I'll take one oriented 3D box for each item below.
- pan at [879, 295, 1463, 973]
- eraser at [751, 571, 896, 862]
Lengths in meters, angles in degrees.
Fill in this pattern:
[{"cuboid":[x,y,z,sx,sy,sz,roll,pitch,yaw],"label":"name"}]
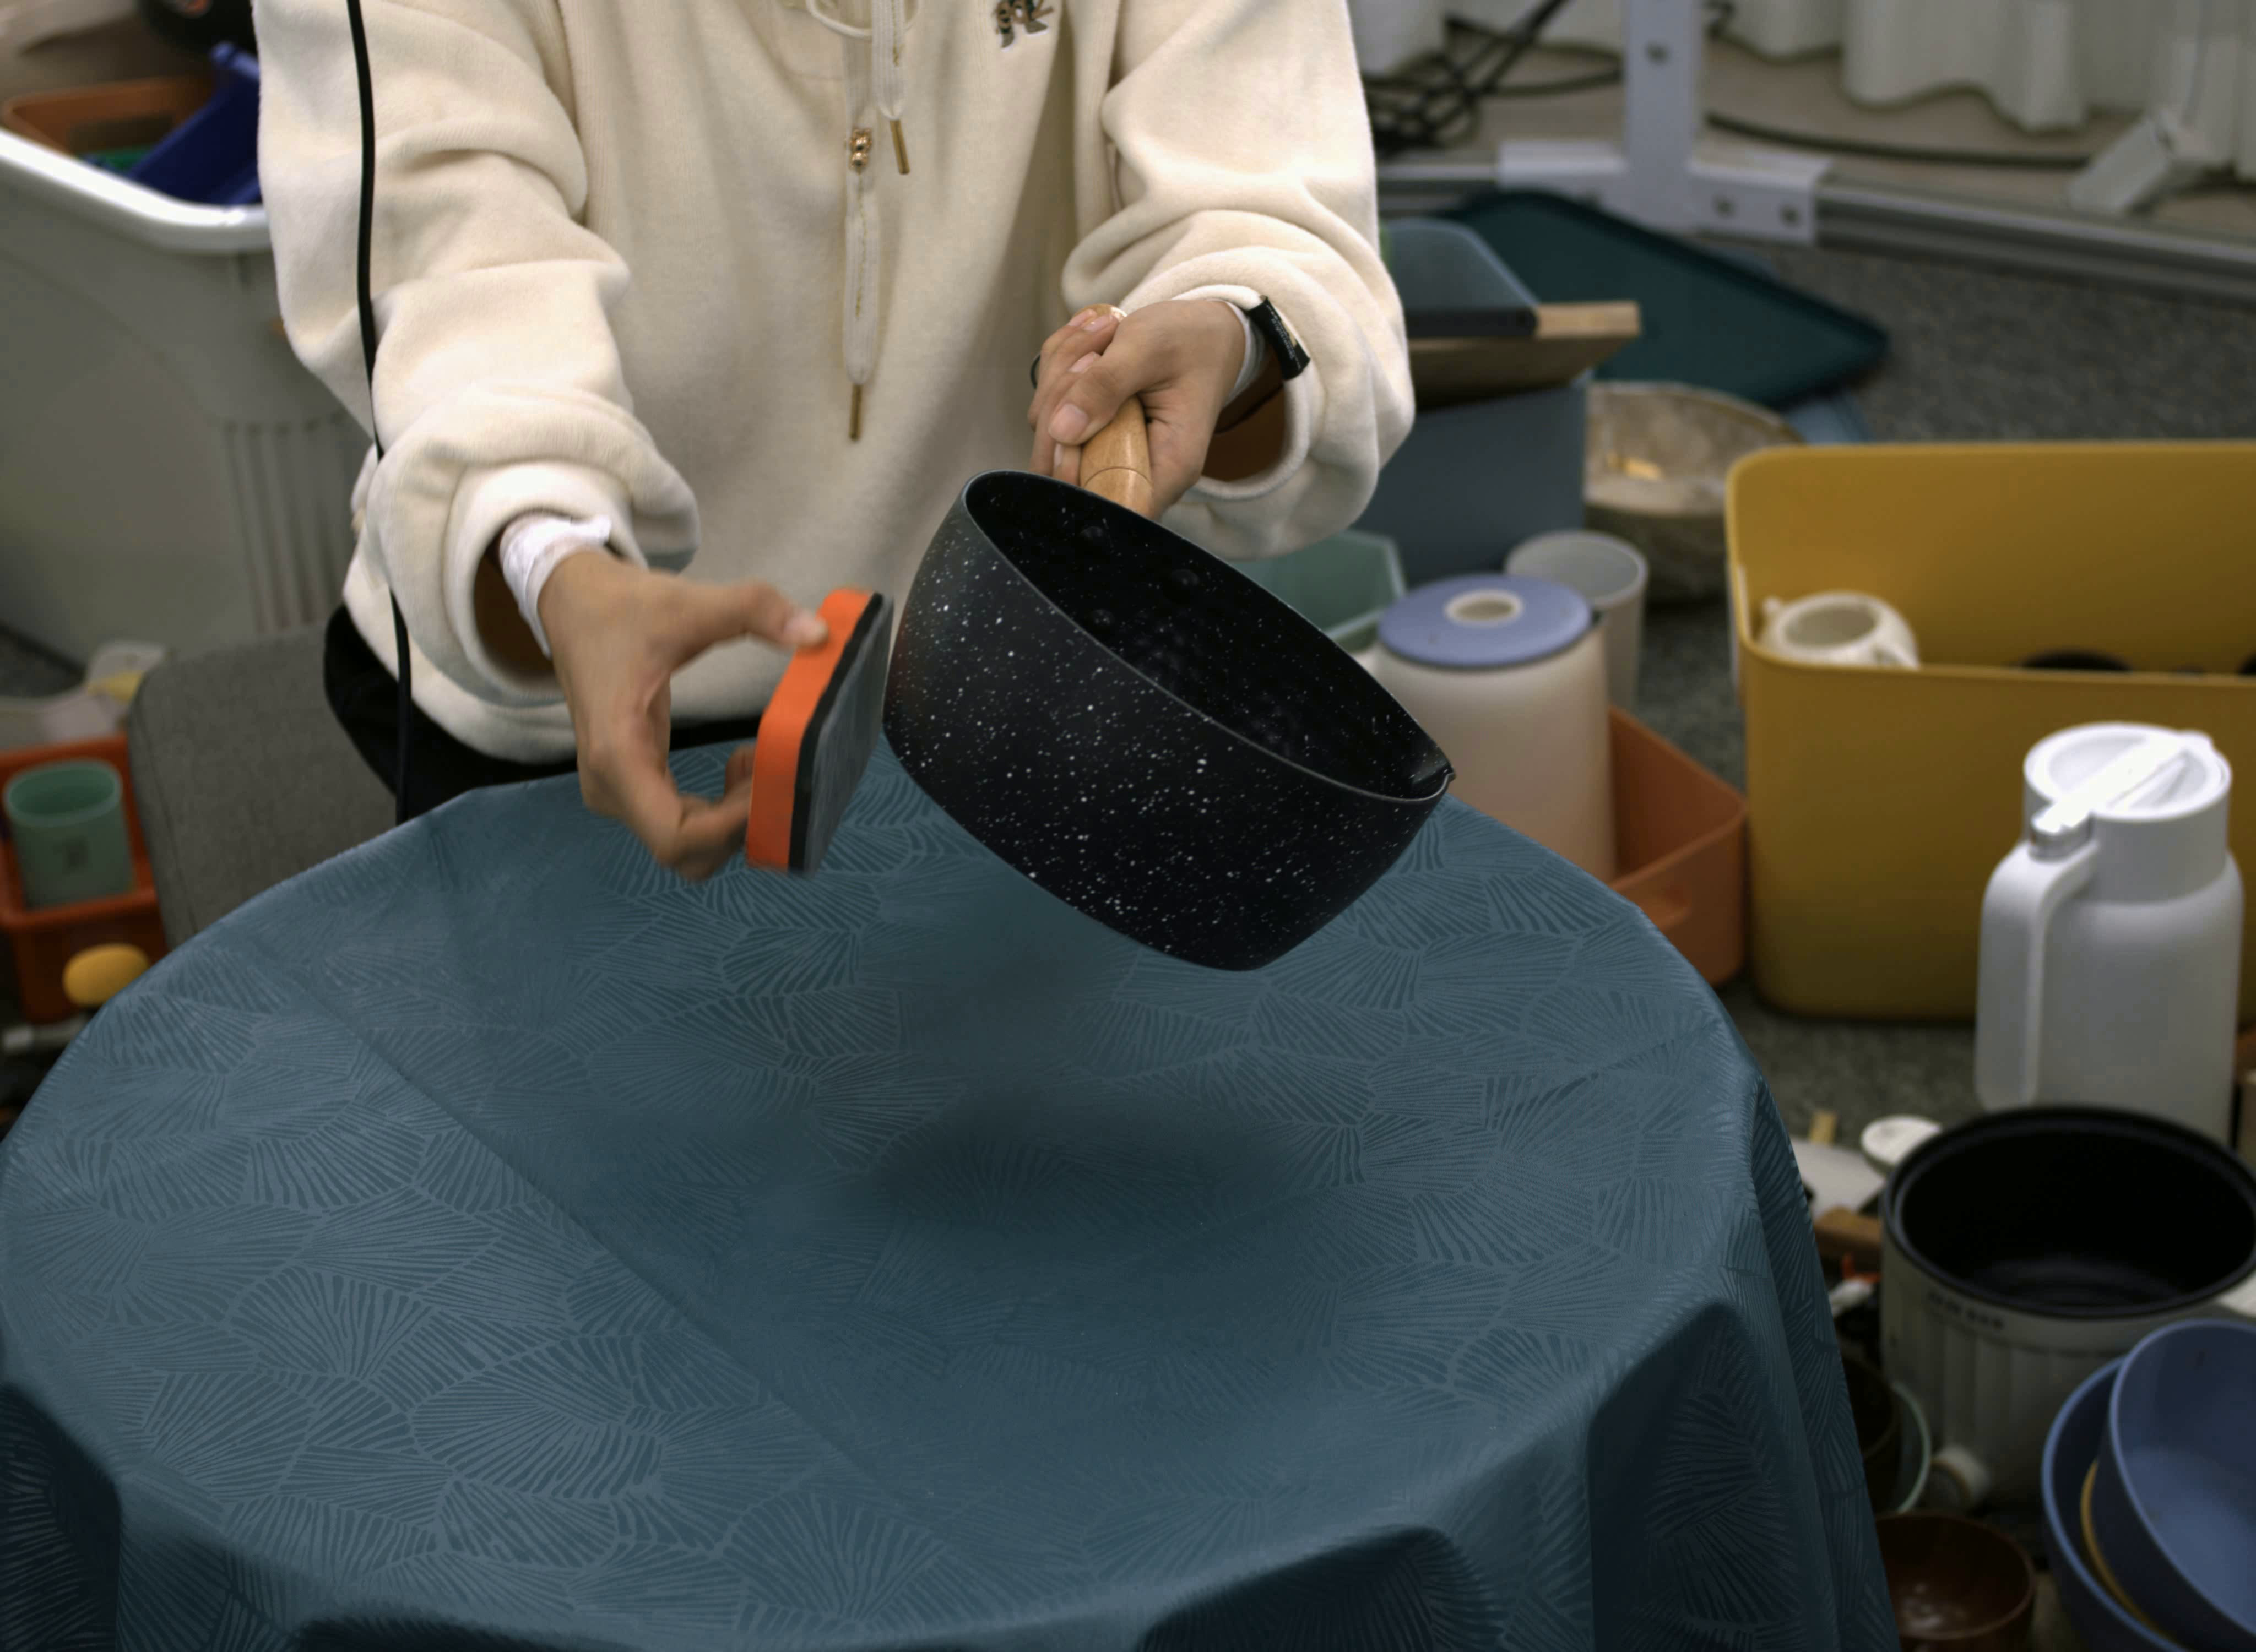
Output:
[{"cuboid":[-0.005,-0.075,1.904,0.207,0.107,0.347,26,19,-22],"label":"pan"},{"cuboid":[-0.100,-0.037,1.854,0.023,0.058,0.110,9,29,7],"label":"eraser"}]
